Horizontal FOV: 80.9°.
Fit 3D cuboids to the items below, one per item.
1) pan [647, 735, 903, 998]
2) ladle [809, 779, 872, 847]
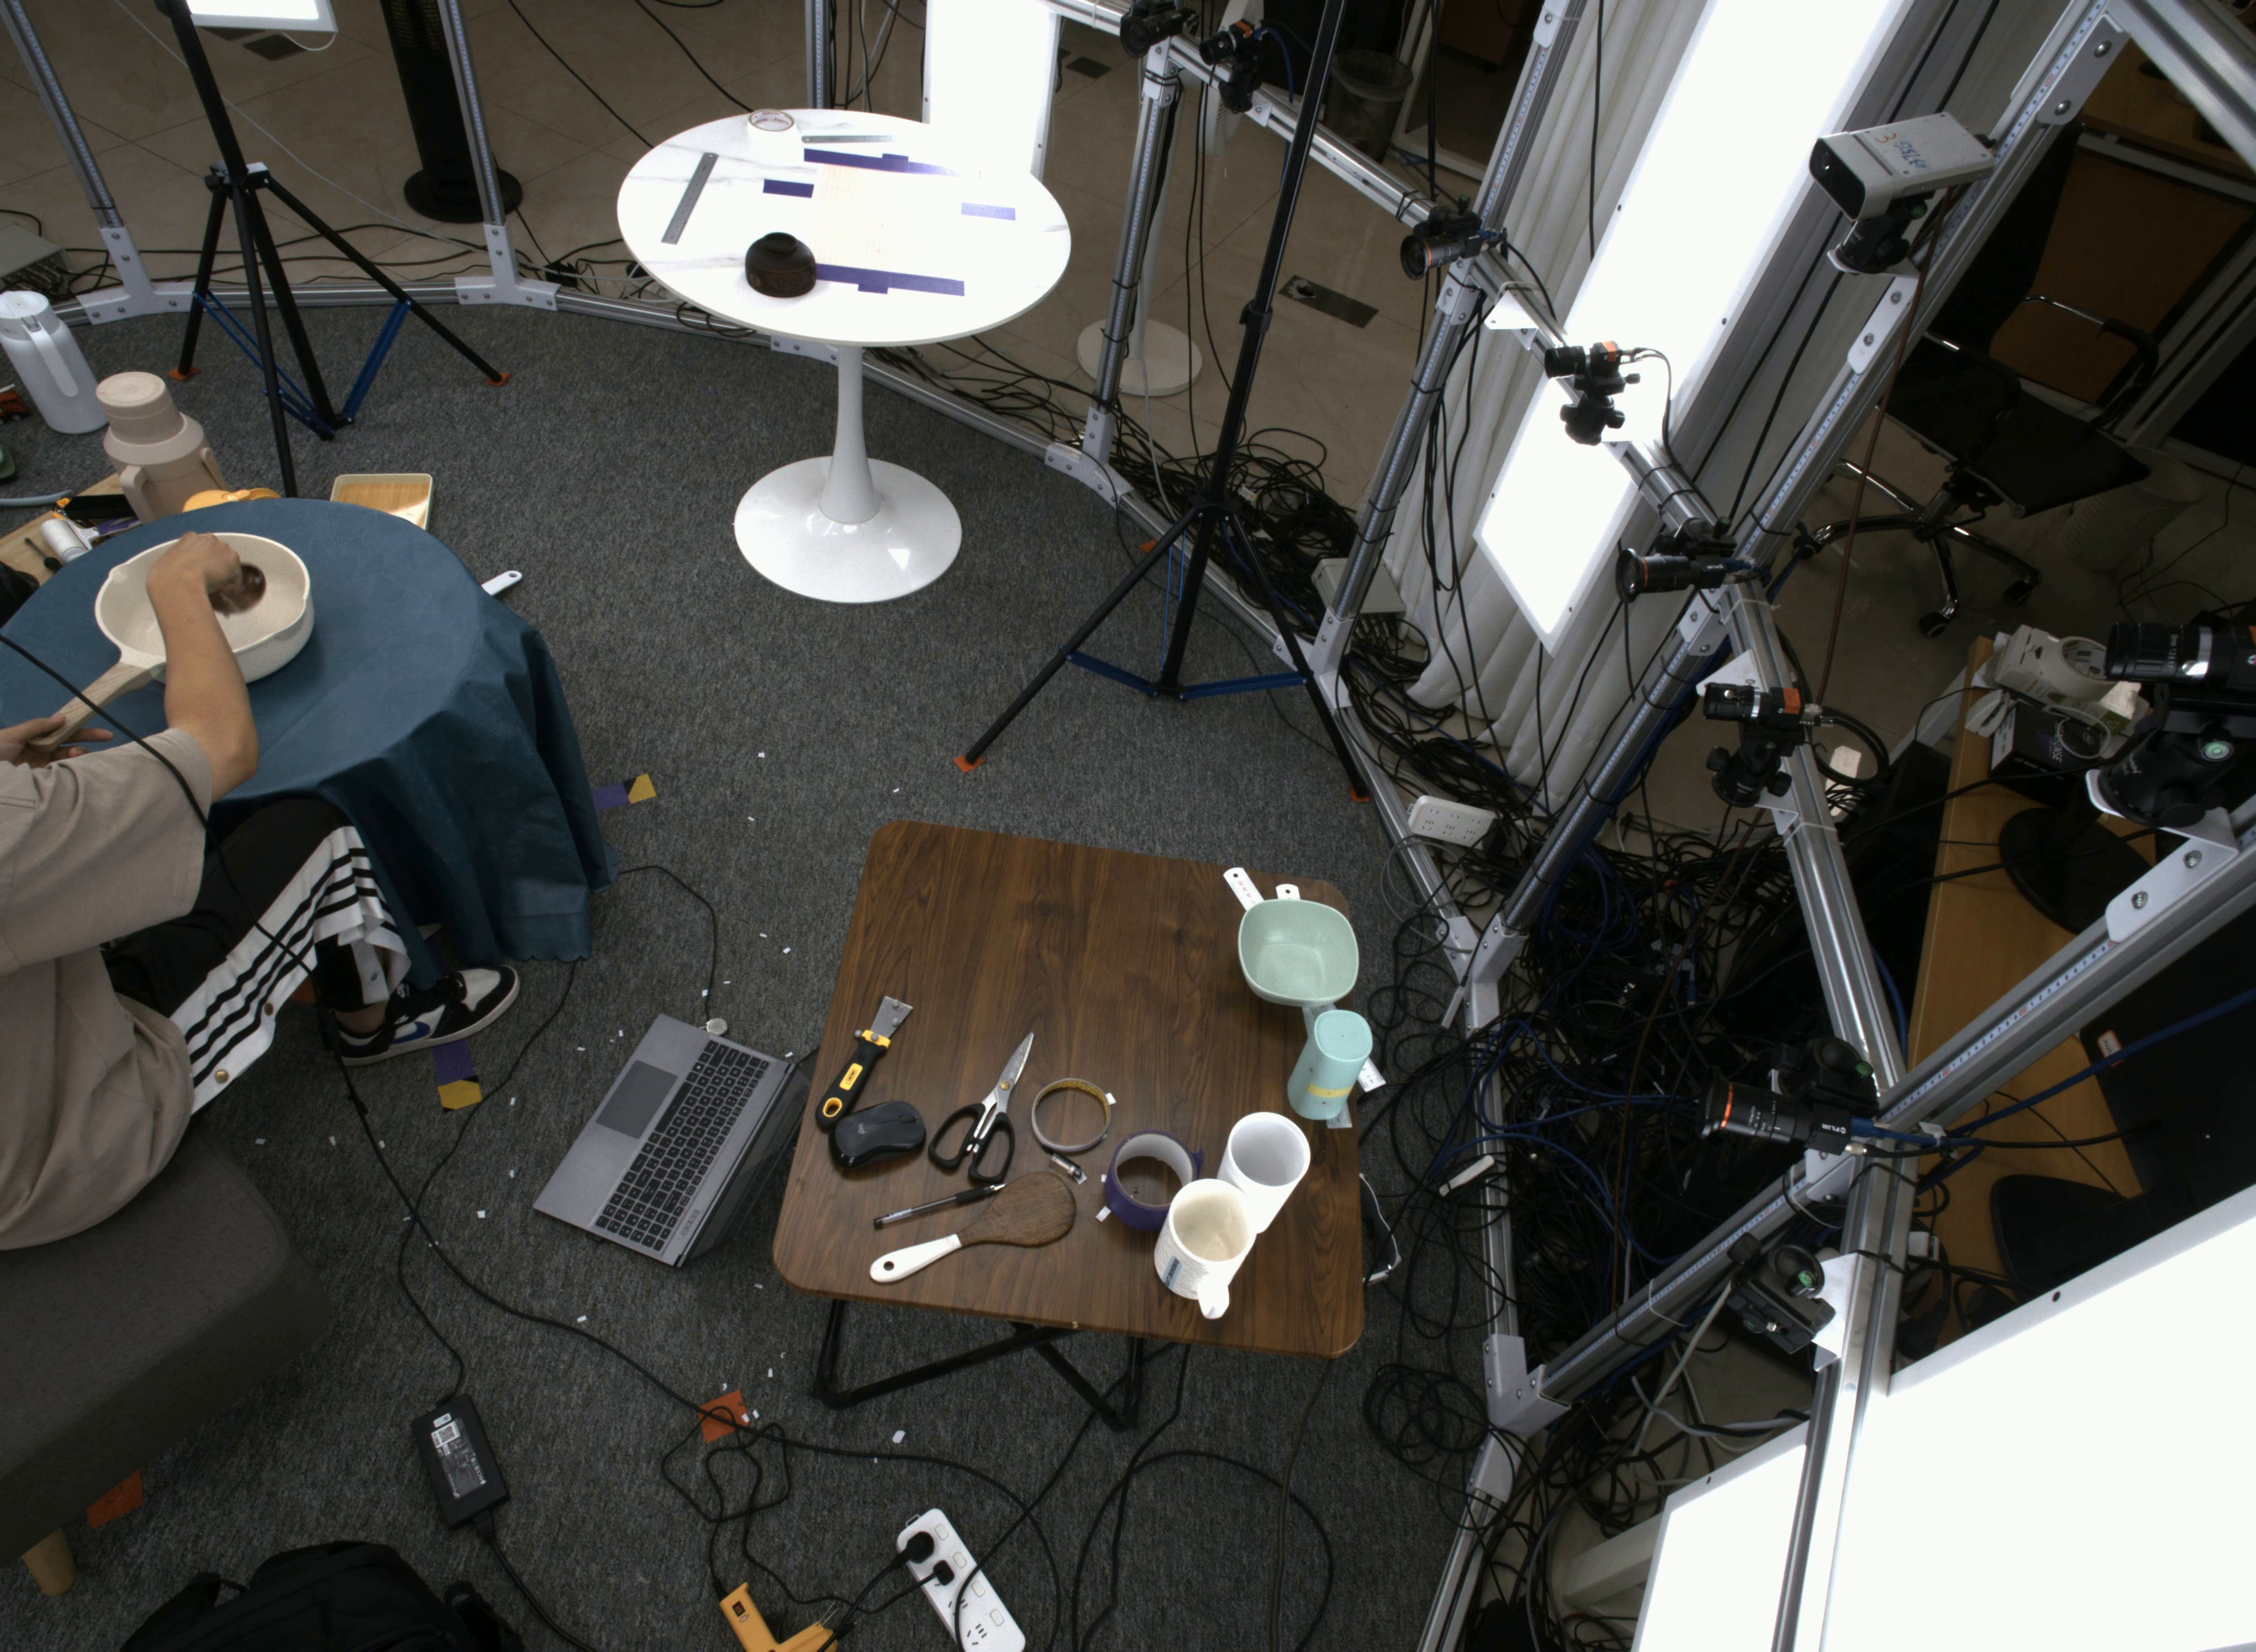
[{"bbox_3d":[-0.455,0.063,1.617,0.260,0.104,0.432,27,53,6],"label":"pan"},{"bbox_3d":[-0.343,-0.019,1.529,0.082,0.271,0.078,-34,96,-7],"label":"ladle"}]
